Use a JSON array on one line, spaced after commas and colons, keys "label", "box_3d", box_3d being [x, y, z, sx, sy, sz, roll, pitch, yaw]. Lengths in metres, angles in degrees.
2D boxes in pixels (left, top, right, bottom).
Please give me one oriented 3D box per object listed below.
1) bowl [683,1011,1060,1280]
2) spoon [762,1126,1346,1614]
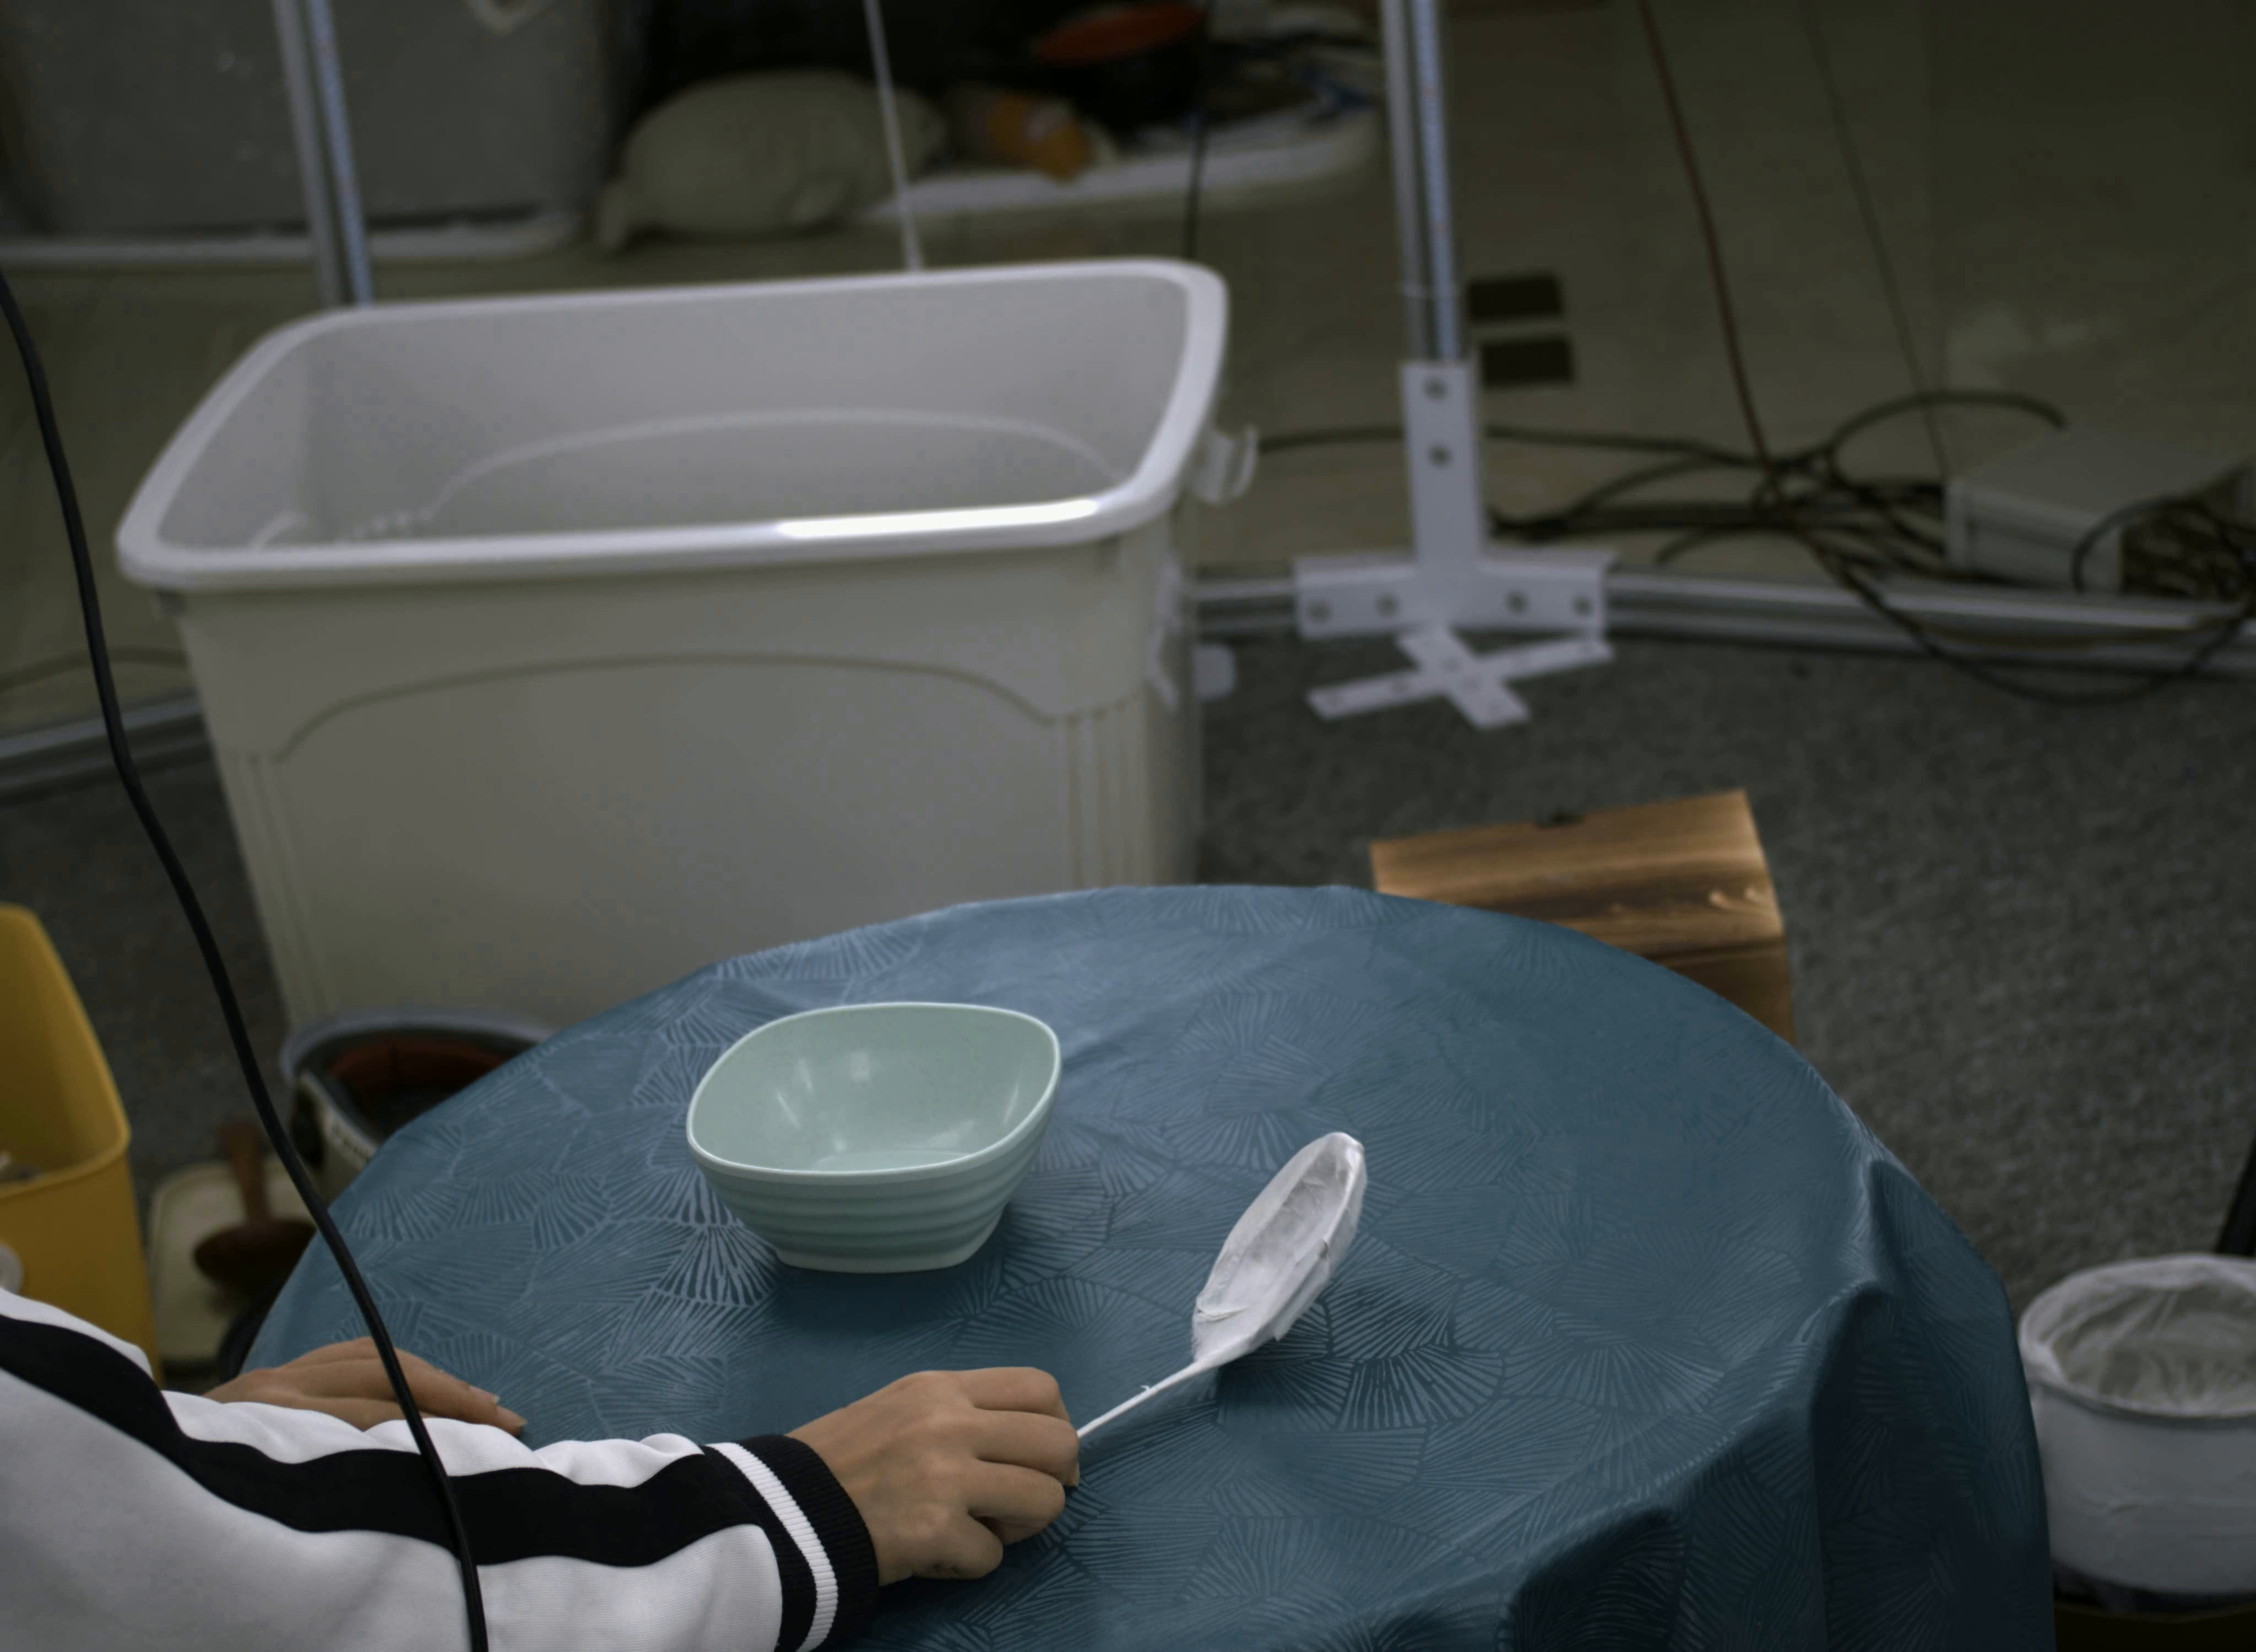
[{"label": "bowl", "box_3d": [-0.093, 0.126, 2.136, 0.151, 0.059, 0.149, -5, 25, 2]}, {"label": "spoon", "box_3d": [-0.028, 0.189, 1.986, 0.275, 0.059, 0.102, -26, -8, -28]}]
